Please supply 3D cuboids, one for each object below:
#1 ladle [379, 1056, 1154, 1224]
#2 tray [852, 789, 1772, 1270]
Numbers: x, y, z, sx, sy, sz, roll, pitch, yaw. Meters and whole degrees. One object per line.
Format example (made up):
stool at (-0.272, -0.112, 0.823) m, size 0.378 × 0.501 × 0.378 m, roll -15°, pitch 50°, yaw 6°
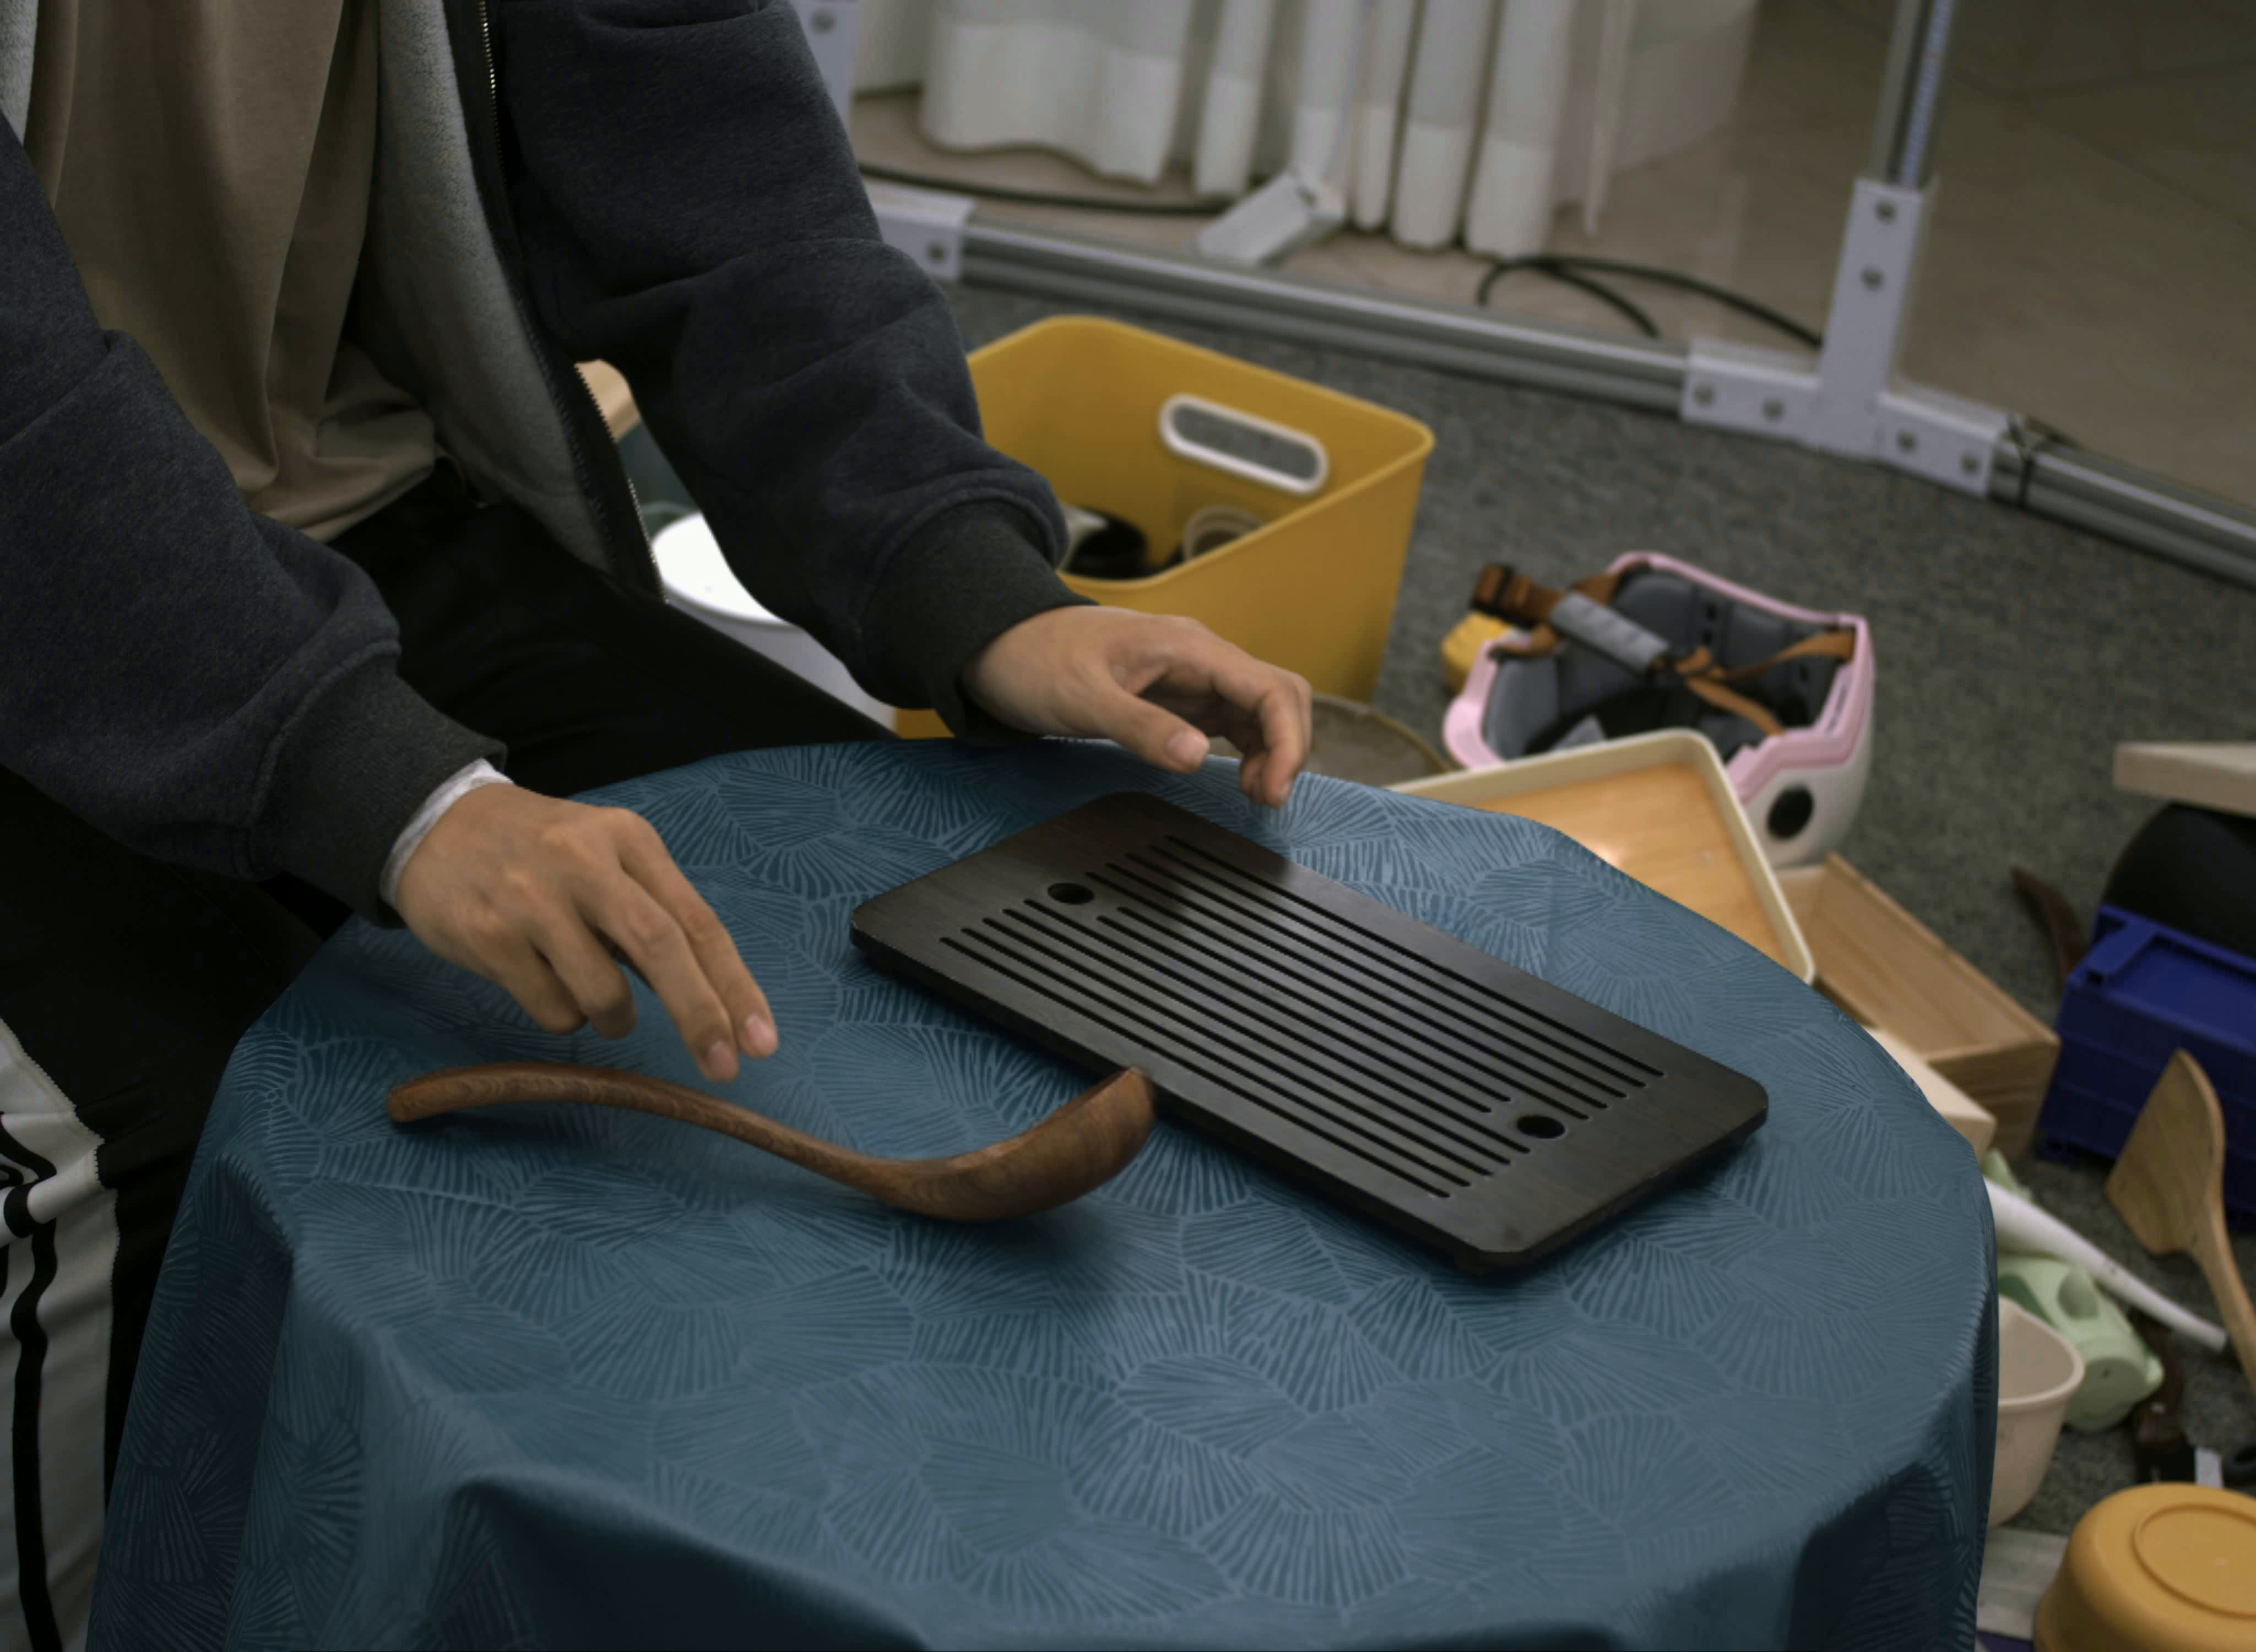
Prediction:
ladle at (-0.121, 0.088, 1.774) m, size 0.260 × 0.065 × 0.076 m, roll 10°, pitch 2°, yaw 7°
tray at (0.063, 0.069, 1.902) m, size 0.308 × 0.018 × 0.169 m, roll 26°, pitch 33°, yaw 33°
